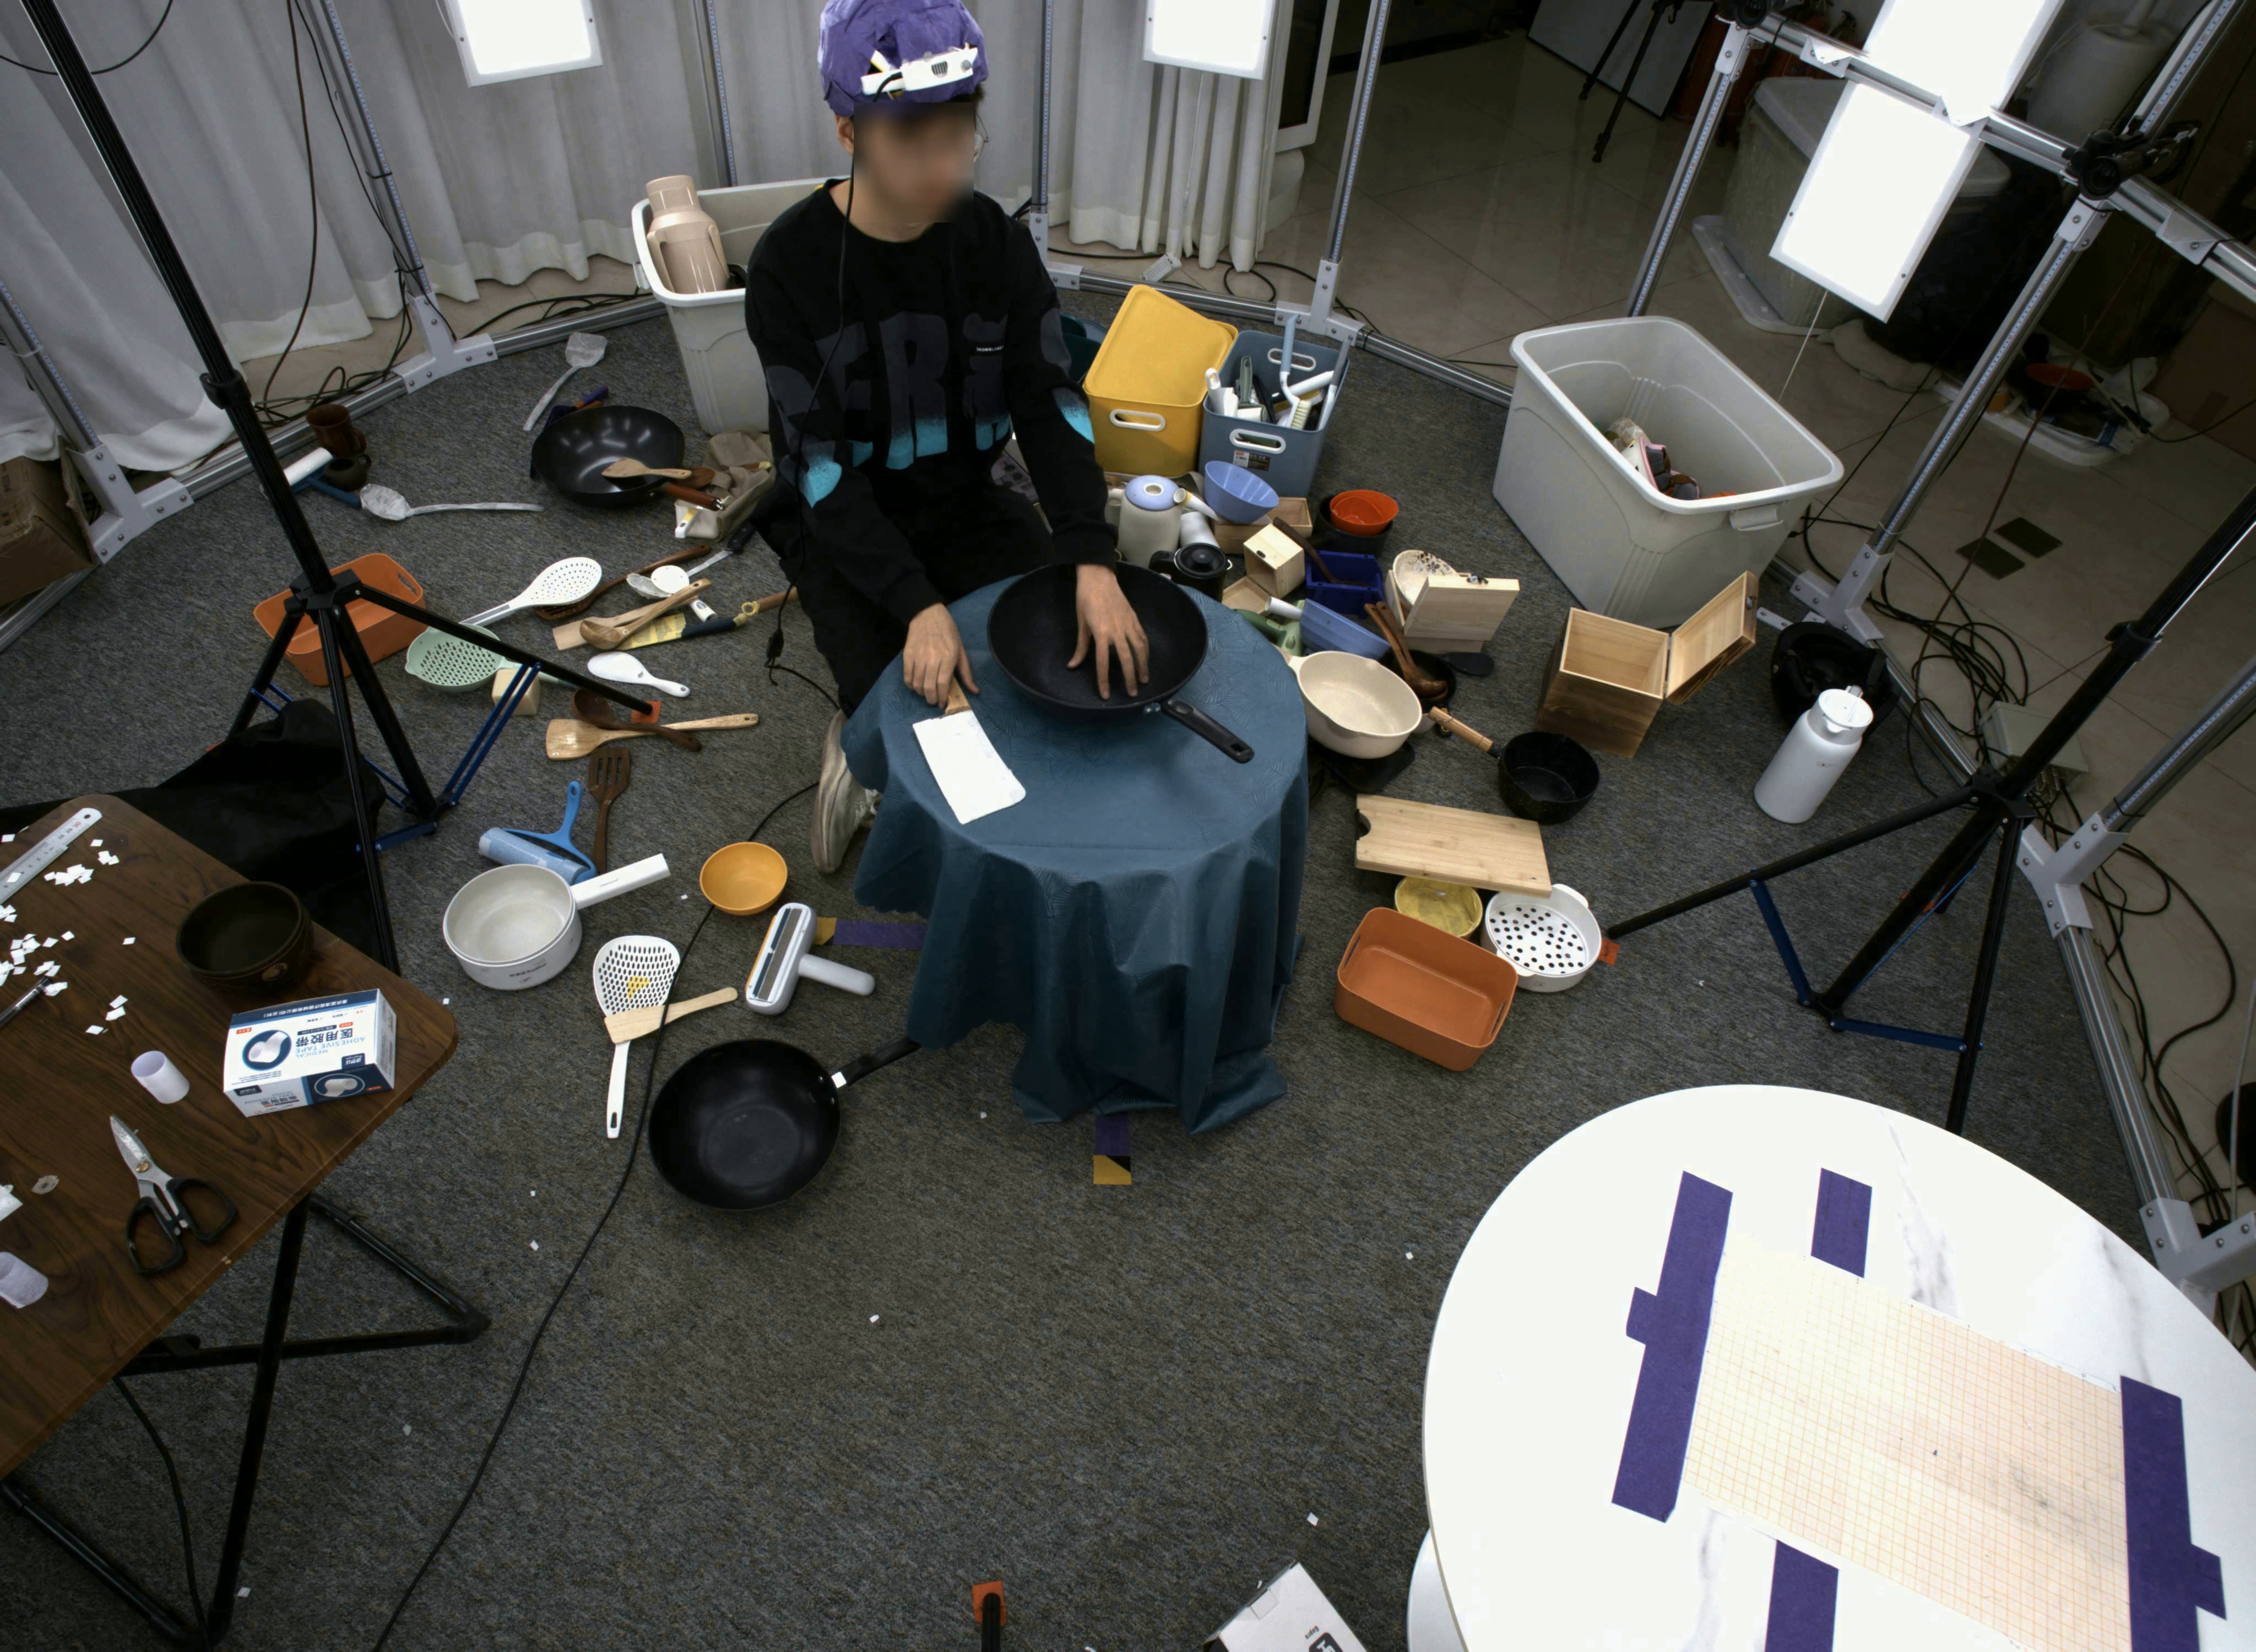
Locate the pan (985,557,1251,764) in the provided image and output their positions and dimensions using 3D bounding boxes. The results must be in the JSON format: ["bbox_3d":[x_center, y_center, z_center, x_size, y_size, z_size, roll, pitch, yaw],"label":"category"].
[{"bbox_3d":[0.005,-0.205,1.778,0.312,0.109,0.486,-29,57,-24],"label":"pan"}]

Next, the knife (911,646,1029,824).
[{"bbox_3d":[-0.231,-0.132,1.756,0.114,0.021,0.322,-15,54,-16],"label":"knife"}]
